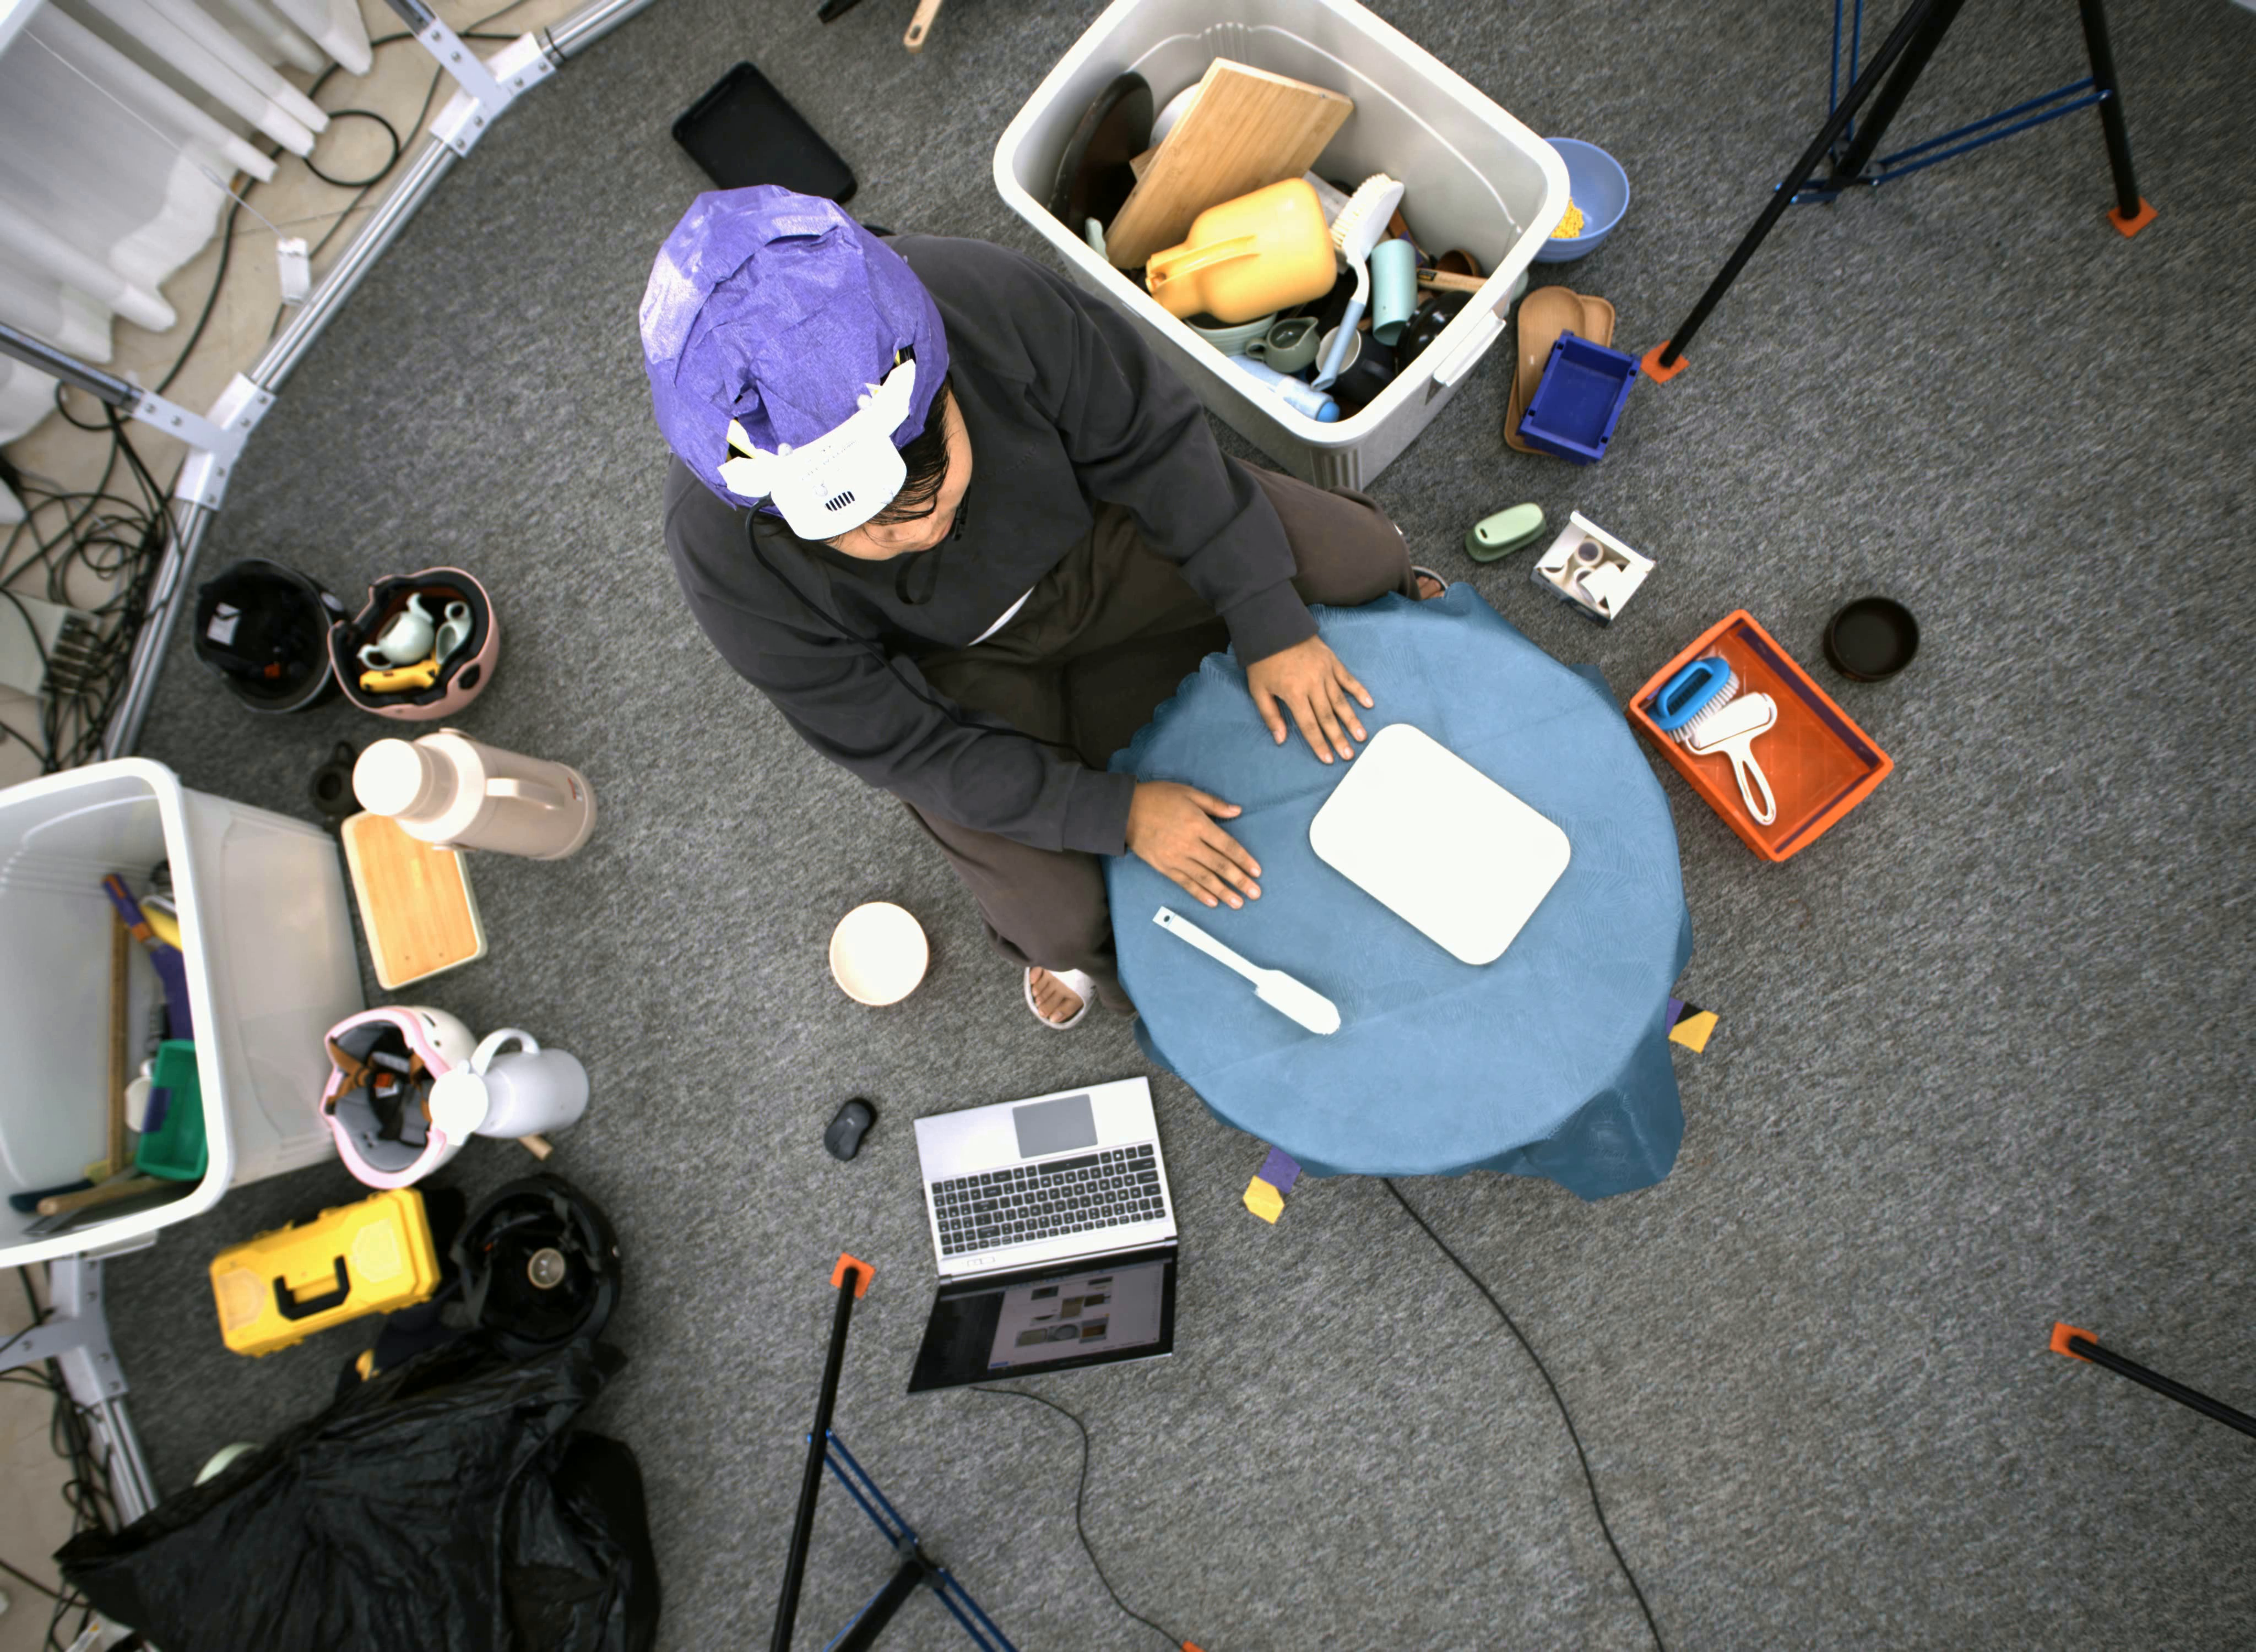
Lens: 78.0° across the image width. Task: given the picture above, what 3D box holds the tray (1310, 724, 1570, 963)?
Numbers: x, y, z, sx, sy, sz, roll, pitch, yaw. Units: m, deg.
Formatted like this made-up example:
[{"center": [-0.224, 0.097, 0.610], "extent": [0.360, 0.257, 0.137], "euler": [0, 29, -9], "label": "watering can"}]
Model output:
[{"center": [0.325, 0.016, 1.444], "extent": [0.239, 0.017, 0.171], "euler": [37, 93, 11], "label": "tray"}]

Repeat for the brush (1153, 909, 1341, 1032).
[{"center": [0.123, 0.151, 1.469], "extent": [0.228, 0.050, 0.037], "euler": [29, 84, 20], "label": "brush"}]
